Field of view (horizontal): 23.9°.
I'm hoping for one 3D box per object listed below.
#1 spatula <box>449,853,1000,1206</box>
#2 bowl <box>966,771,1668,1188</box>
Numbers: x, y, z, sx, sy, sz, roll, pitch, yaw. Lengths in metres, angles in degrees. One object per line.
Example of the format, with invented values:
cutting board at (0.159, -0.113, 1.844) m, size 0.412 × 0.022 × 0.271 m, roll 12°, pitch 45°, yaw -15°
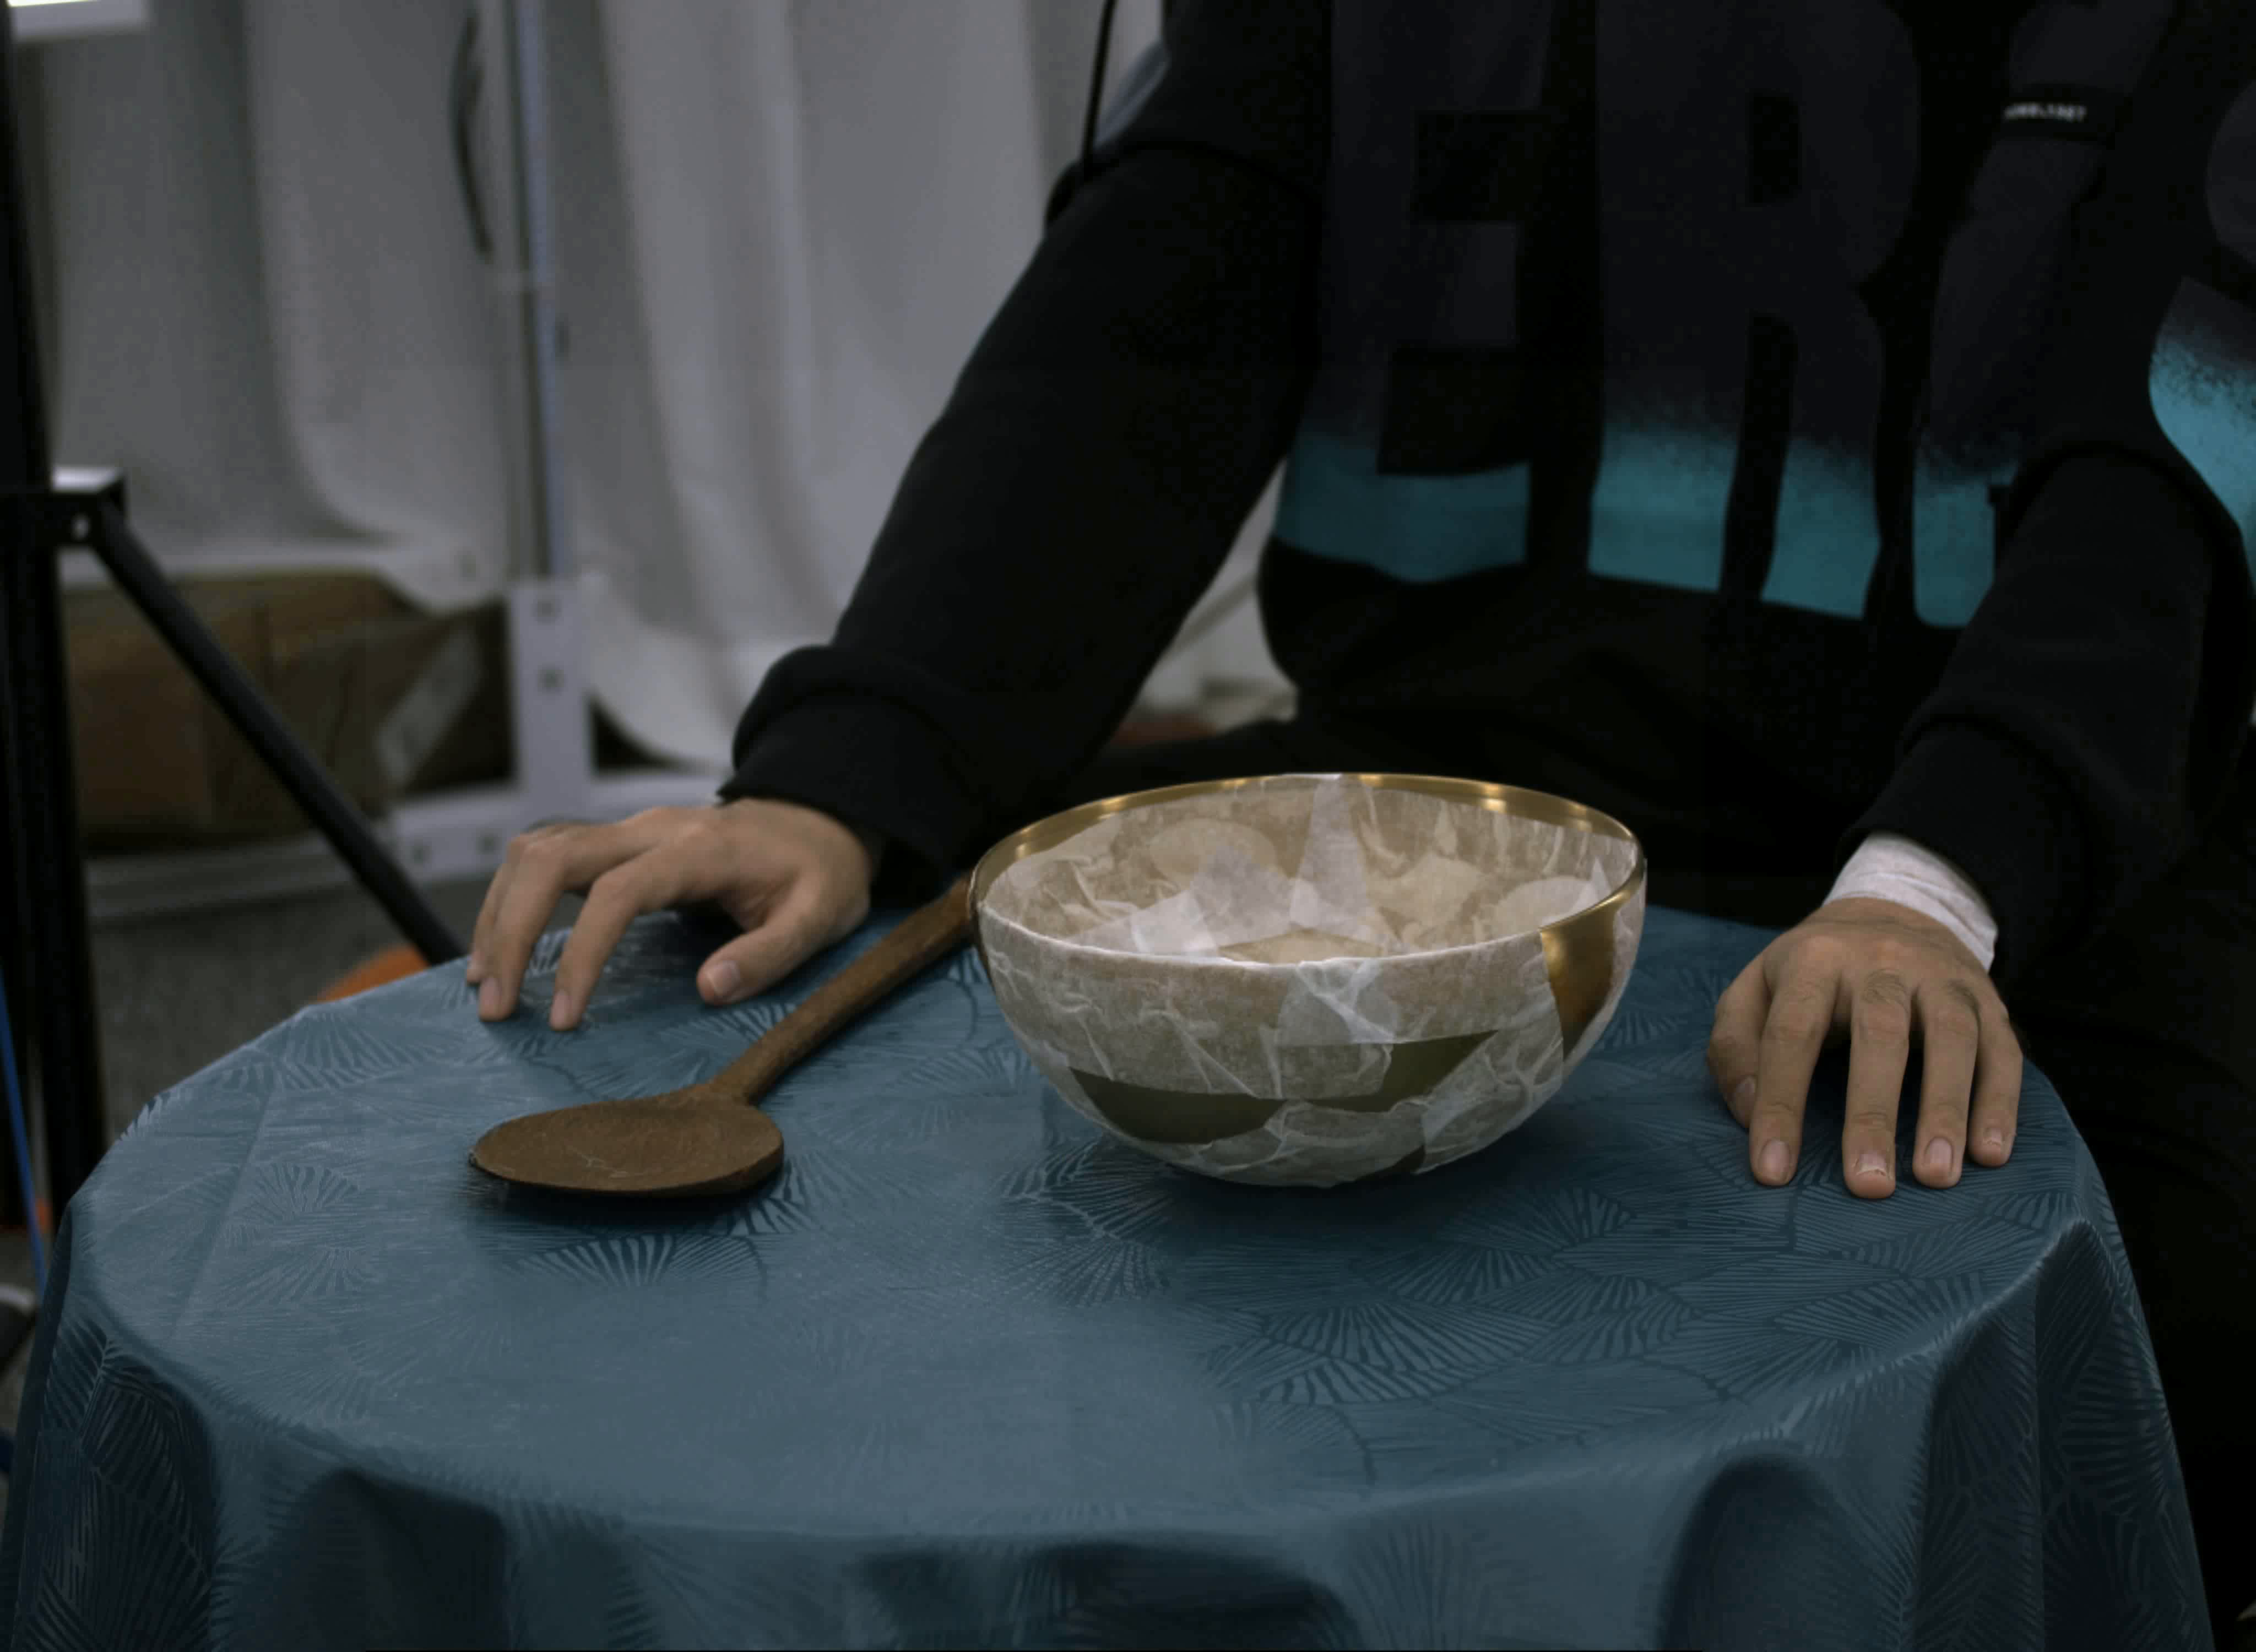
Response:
spatula at (-0.097, 0.059, 1.722) m, size 0.097 × 0.016 × 0.381 m, roll 4°, pitch 17°, yaw 21°
bowl at (0.057, 0.053, 1.574) m, size 0.213 × 0.094 × 0.216 m, roll -4°, pitch 14°, yaw -1°
